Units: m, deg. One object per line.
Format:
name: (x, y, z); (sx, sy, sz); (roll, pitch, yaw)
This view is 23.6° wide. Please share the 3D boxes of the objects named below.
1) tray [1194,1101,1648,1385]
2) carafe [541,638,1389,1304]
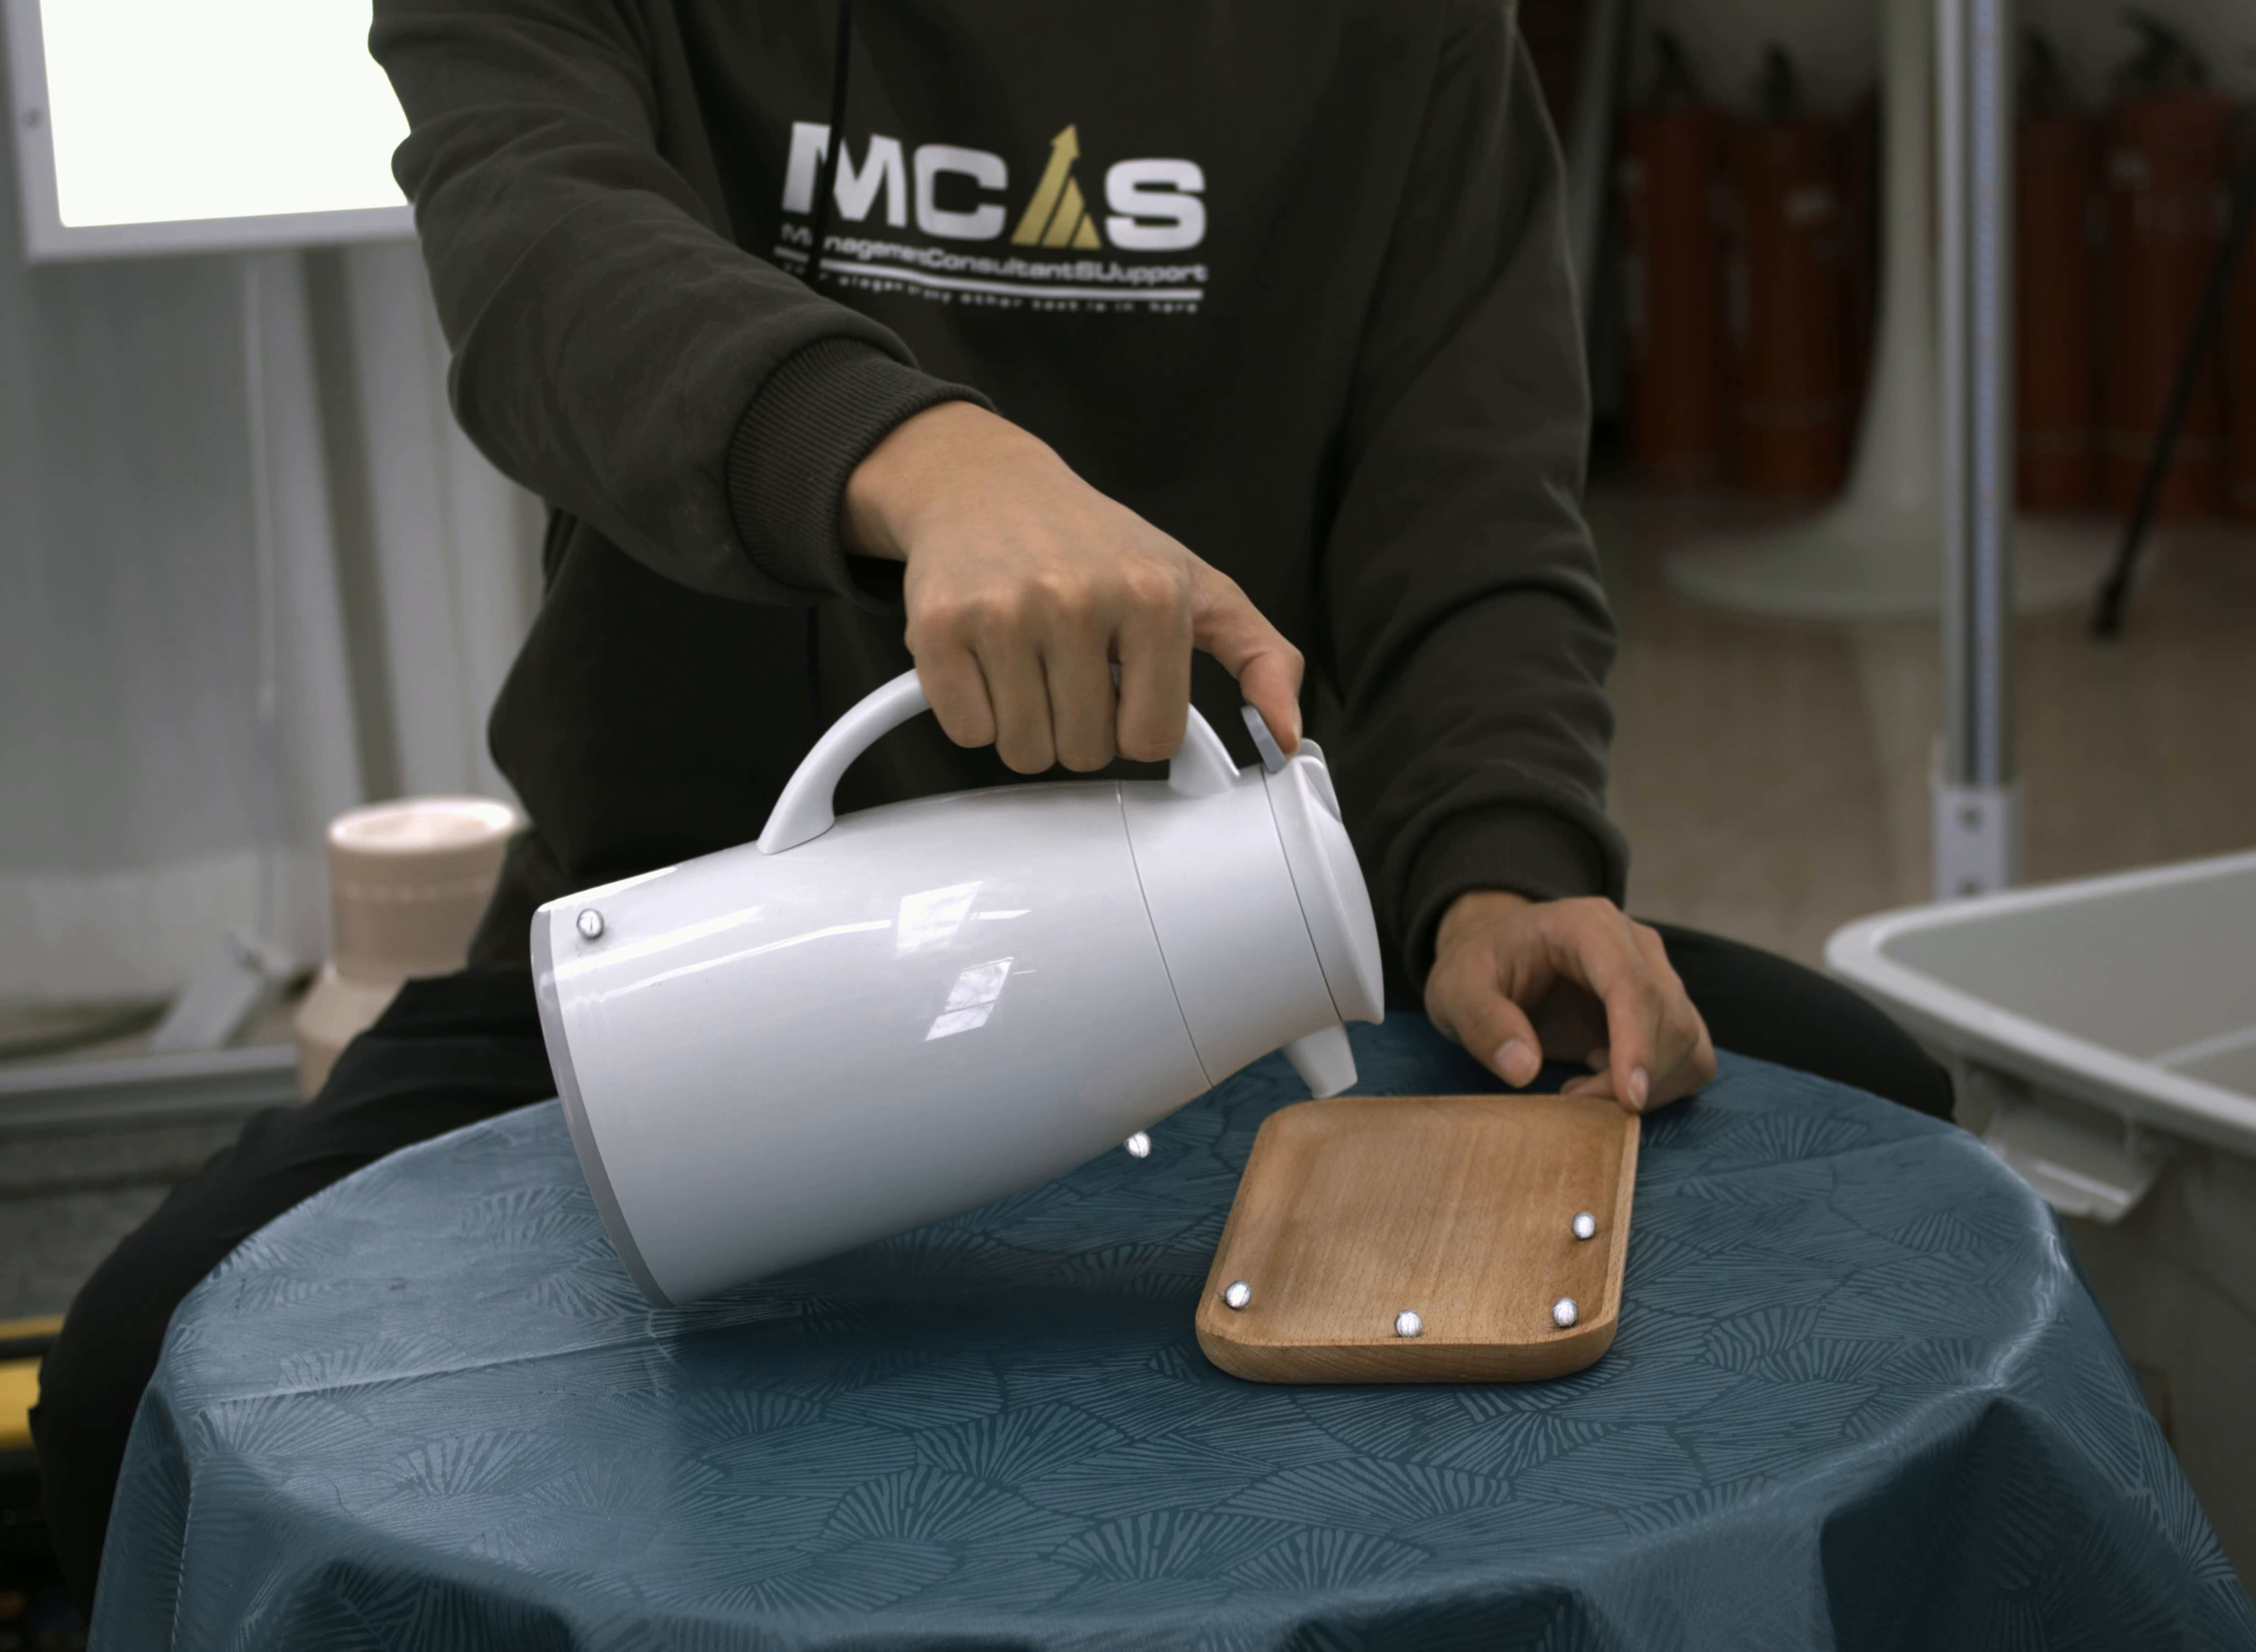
tray: (0.096, 0.128, 1.688); (0.129, 0.023, 0.249); (1, 13, 9)
carafe: (-0.049, 0.034, 1.647); (0.246, 0.169, 0.132); (-15, 15, 6)
